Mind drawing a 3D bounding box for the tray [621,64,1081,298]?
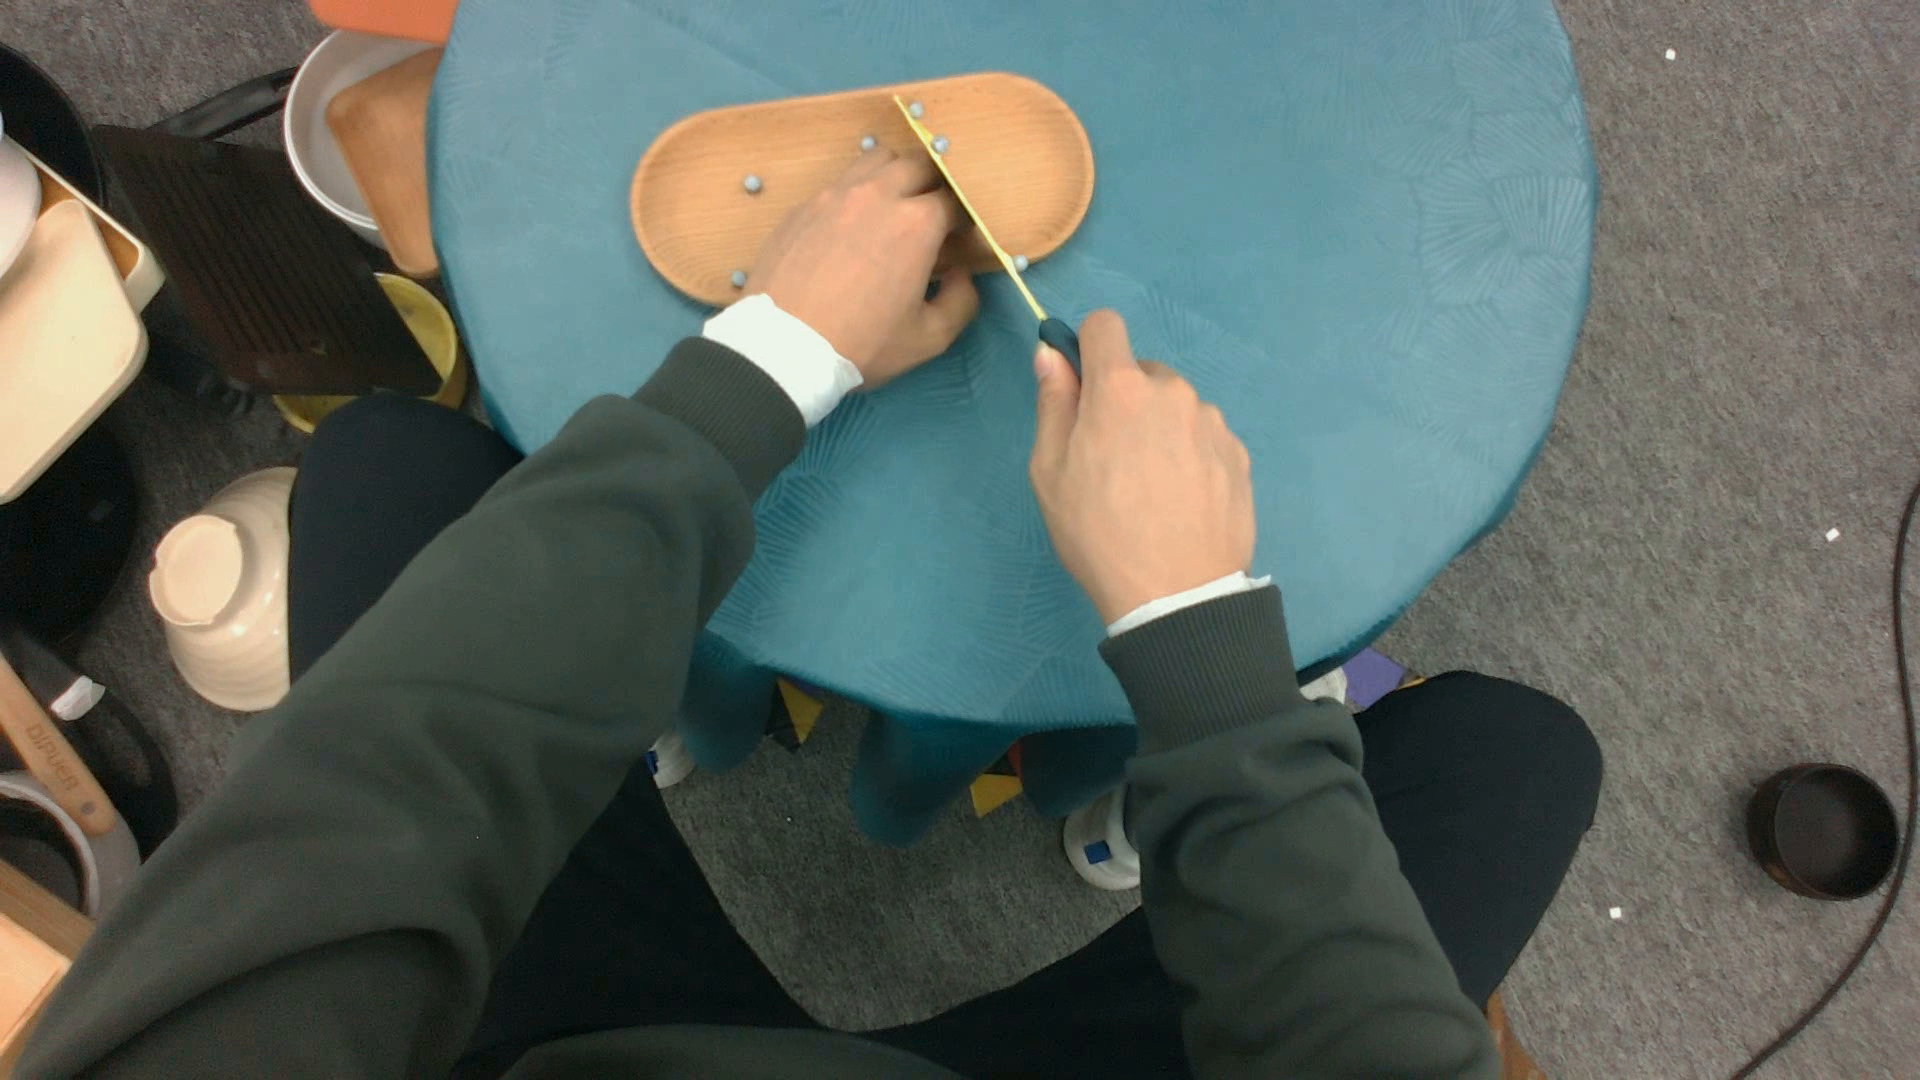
[{"bbox_3d":[-0.052,-0.180,0.691,0.231,0.020,0.102,-10,84,-9],"label":"tray"}]

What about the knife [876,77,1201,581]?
[{"bbox_3d":[0.030,-0.104,0.636,0.027,0.081,0.290,-33,74,11],"label":"knife"}]
